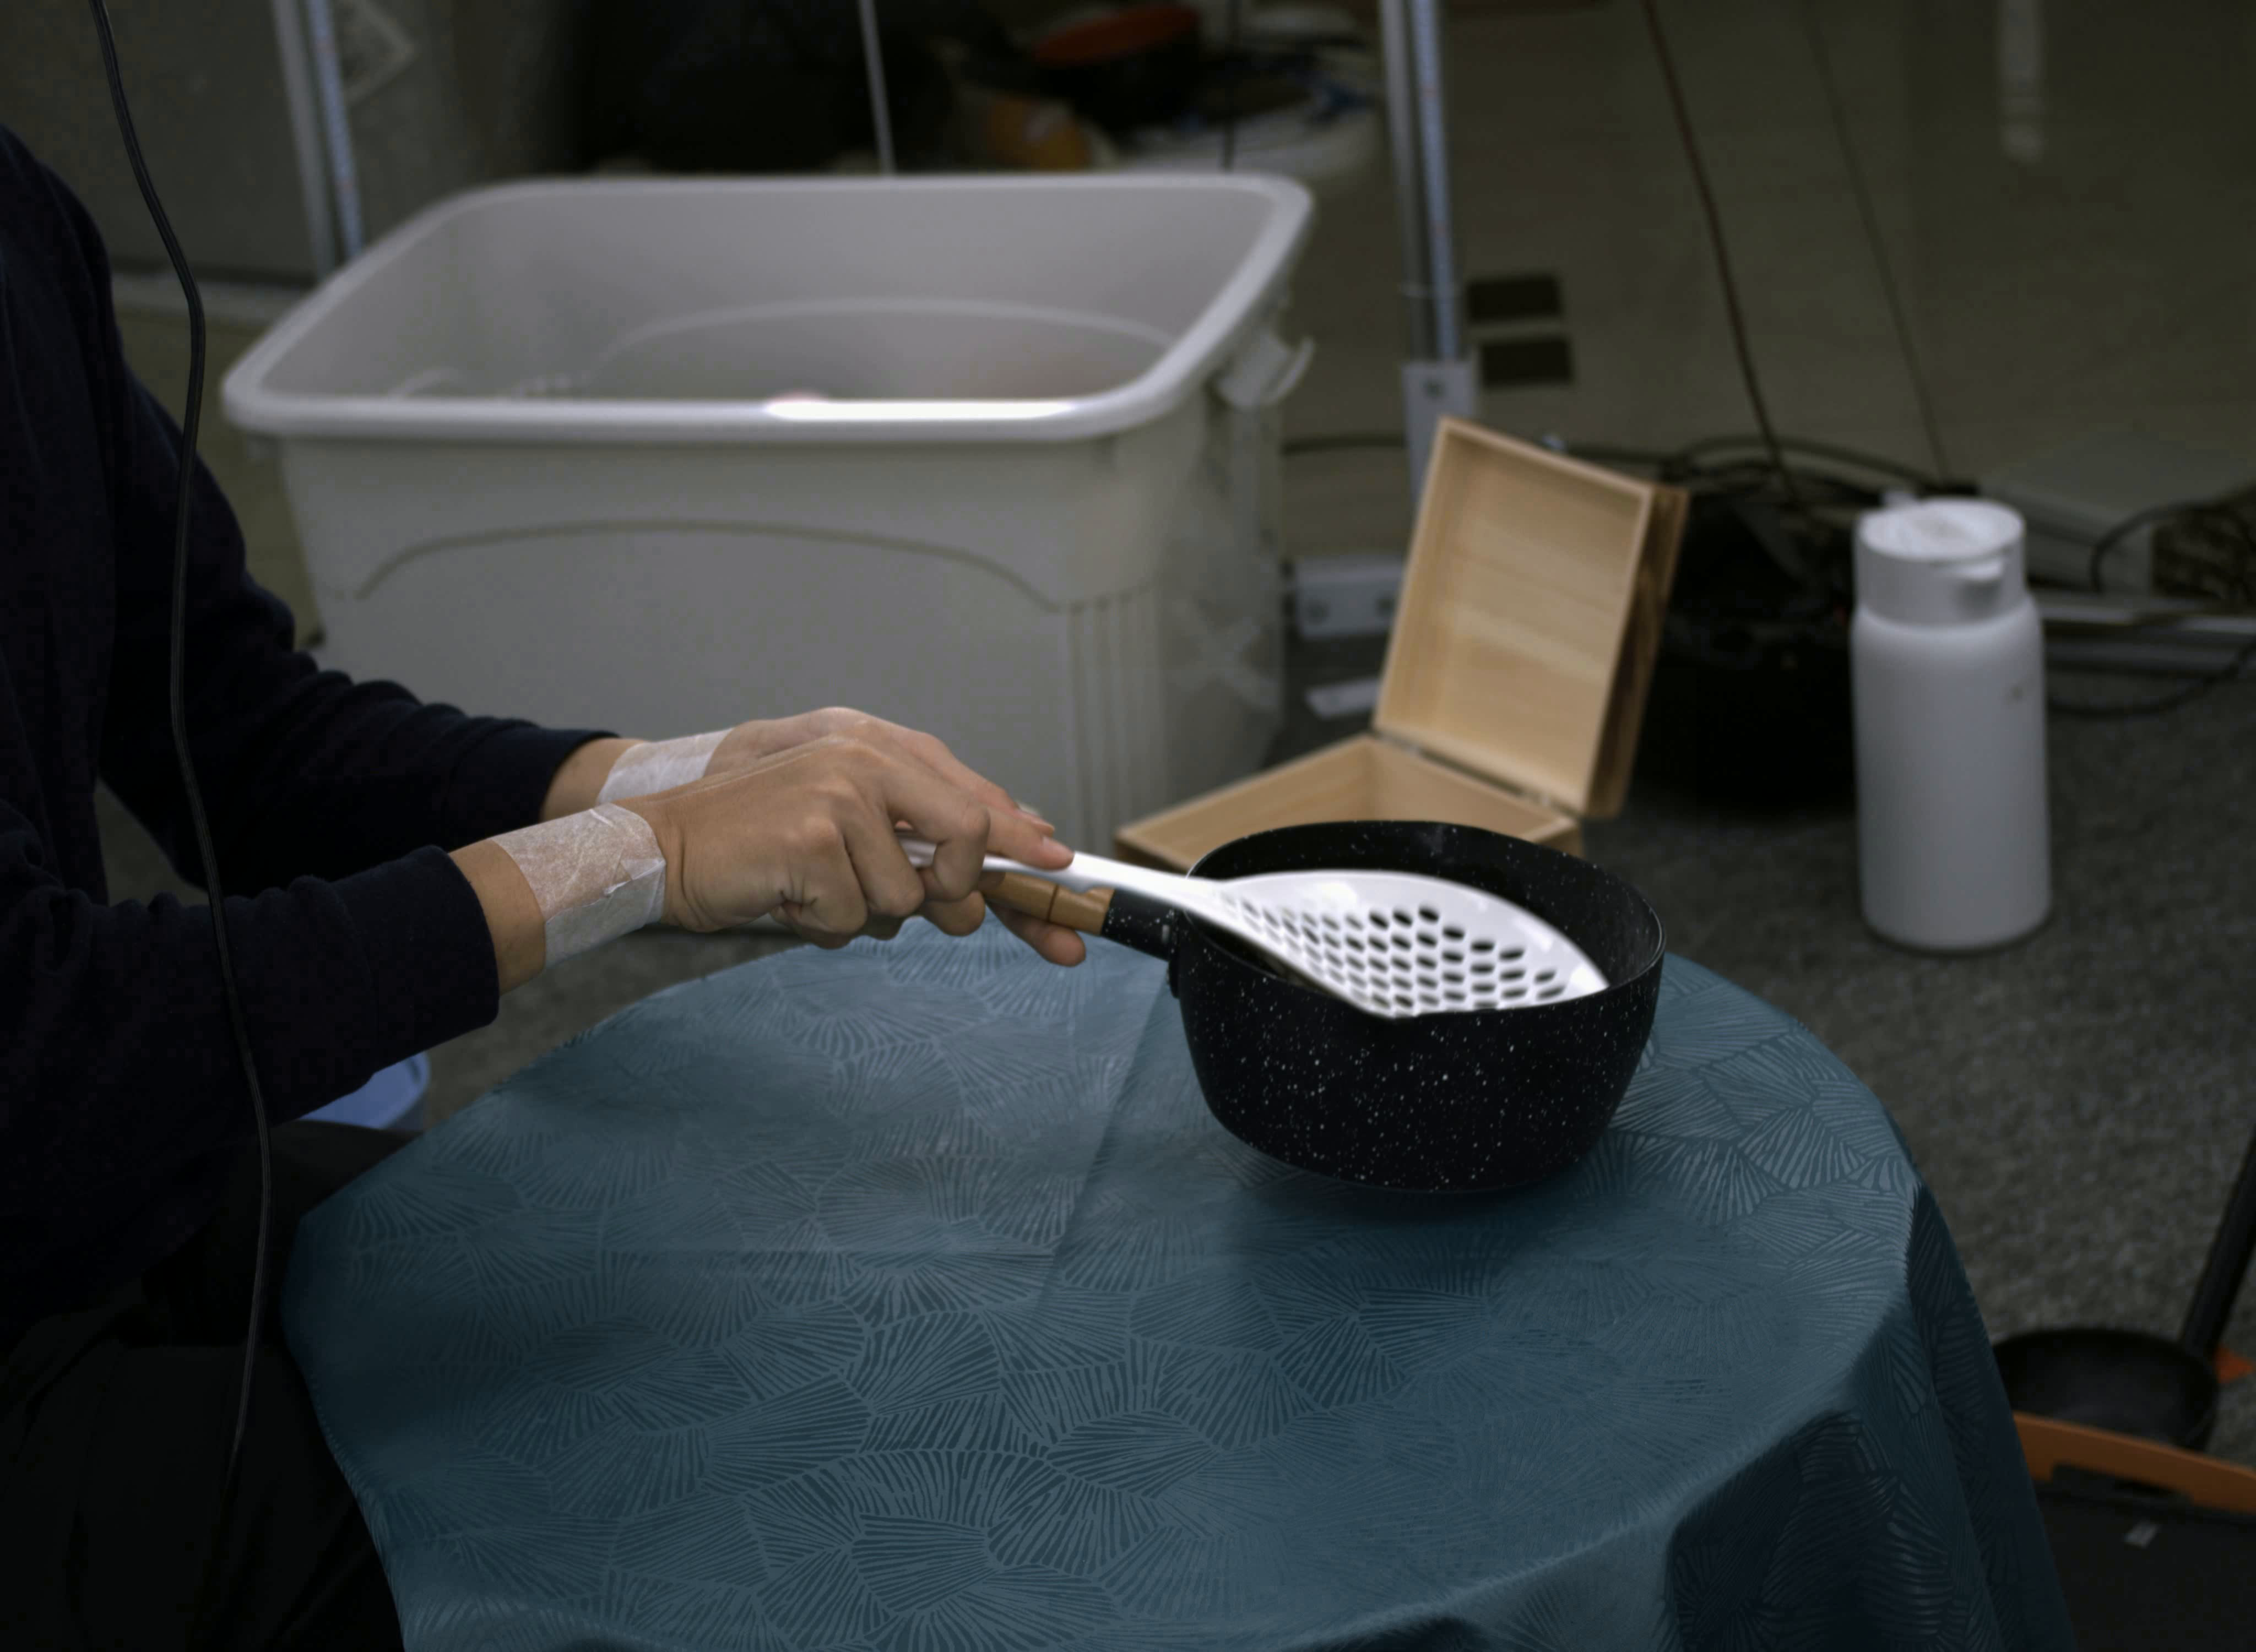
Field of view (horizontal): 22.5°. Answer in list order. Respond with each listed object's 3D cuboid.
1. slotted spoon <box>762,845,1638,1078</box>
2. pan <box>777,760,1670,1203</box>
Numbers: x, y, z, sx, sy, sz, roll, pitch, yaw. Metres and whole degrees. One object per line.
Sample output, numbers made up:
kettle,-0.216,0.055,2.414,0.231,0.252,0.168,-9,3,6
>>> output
slotted spoon,0.029,0.041,2.102,0.349,0.051,0.134,18,26,-25
pan,0.030,0.051,2.144,0.342,0.110,0.204,8,24,6
